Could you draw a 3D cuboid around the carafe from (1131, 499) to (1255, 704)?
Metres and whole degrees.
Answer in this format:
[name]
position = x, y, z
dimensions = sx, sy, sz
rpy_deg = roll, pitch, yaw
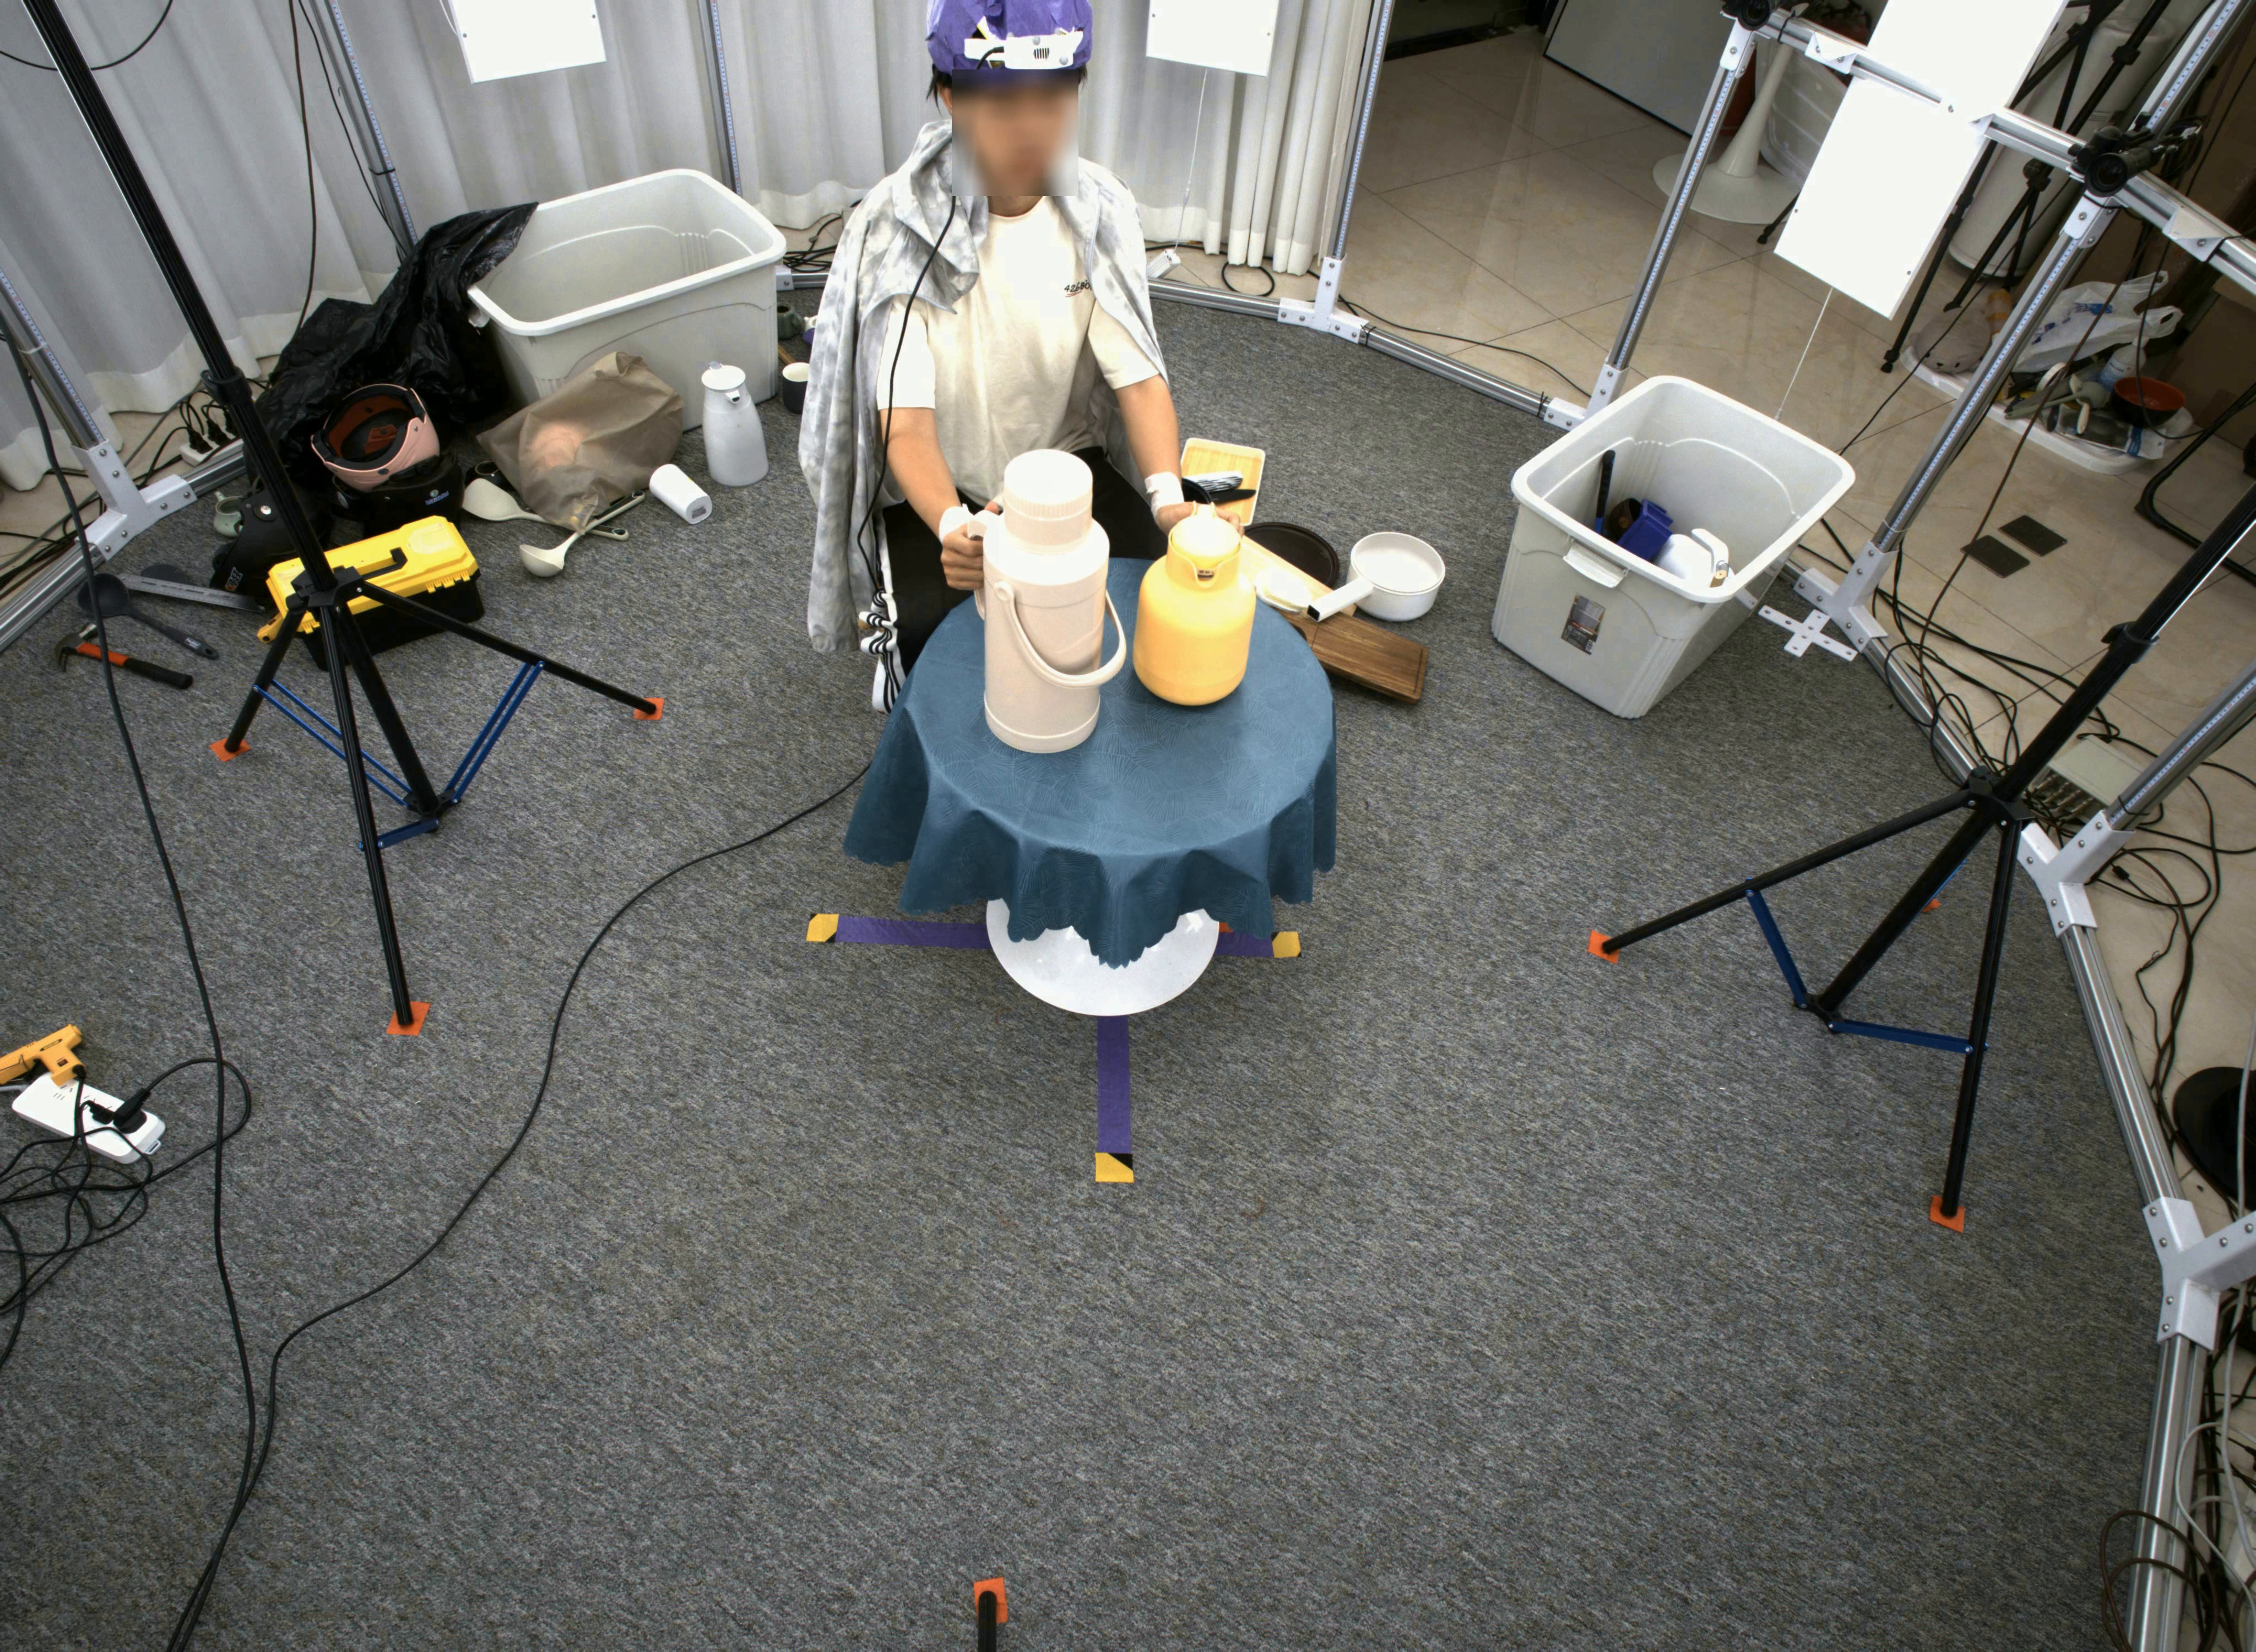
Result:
[carafe]
position = 0.095, -0.317, 1.775
dimensions = 0.163, 0.254, 0.207
rpy_deg = 6, 50, -2

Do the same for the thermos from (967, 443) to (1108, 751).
[thermos]
position = -0.119, -0.295, 1.653
dimensions = 0.209, 0.396, 0.177
rpy_deg = 31, 55, 20
